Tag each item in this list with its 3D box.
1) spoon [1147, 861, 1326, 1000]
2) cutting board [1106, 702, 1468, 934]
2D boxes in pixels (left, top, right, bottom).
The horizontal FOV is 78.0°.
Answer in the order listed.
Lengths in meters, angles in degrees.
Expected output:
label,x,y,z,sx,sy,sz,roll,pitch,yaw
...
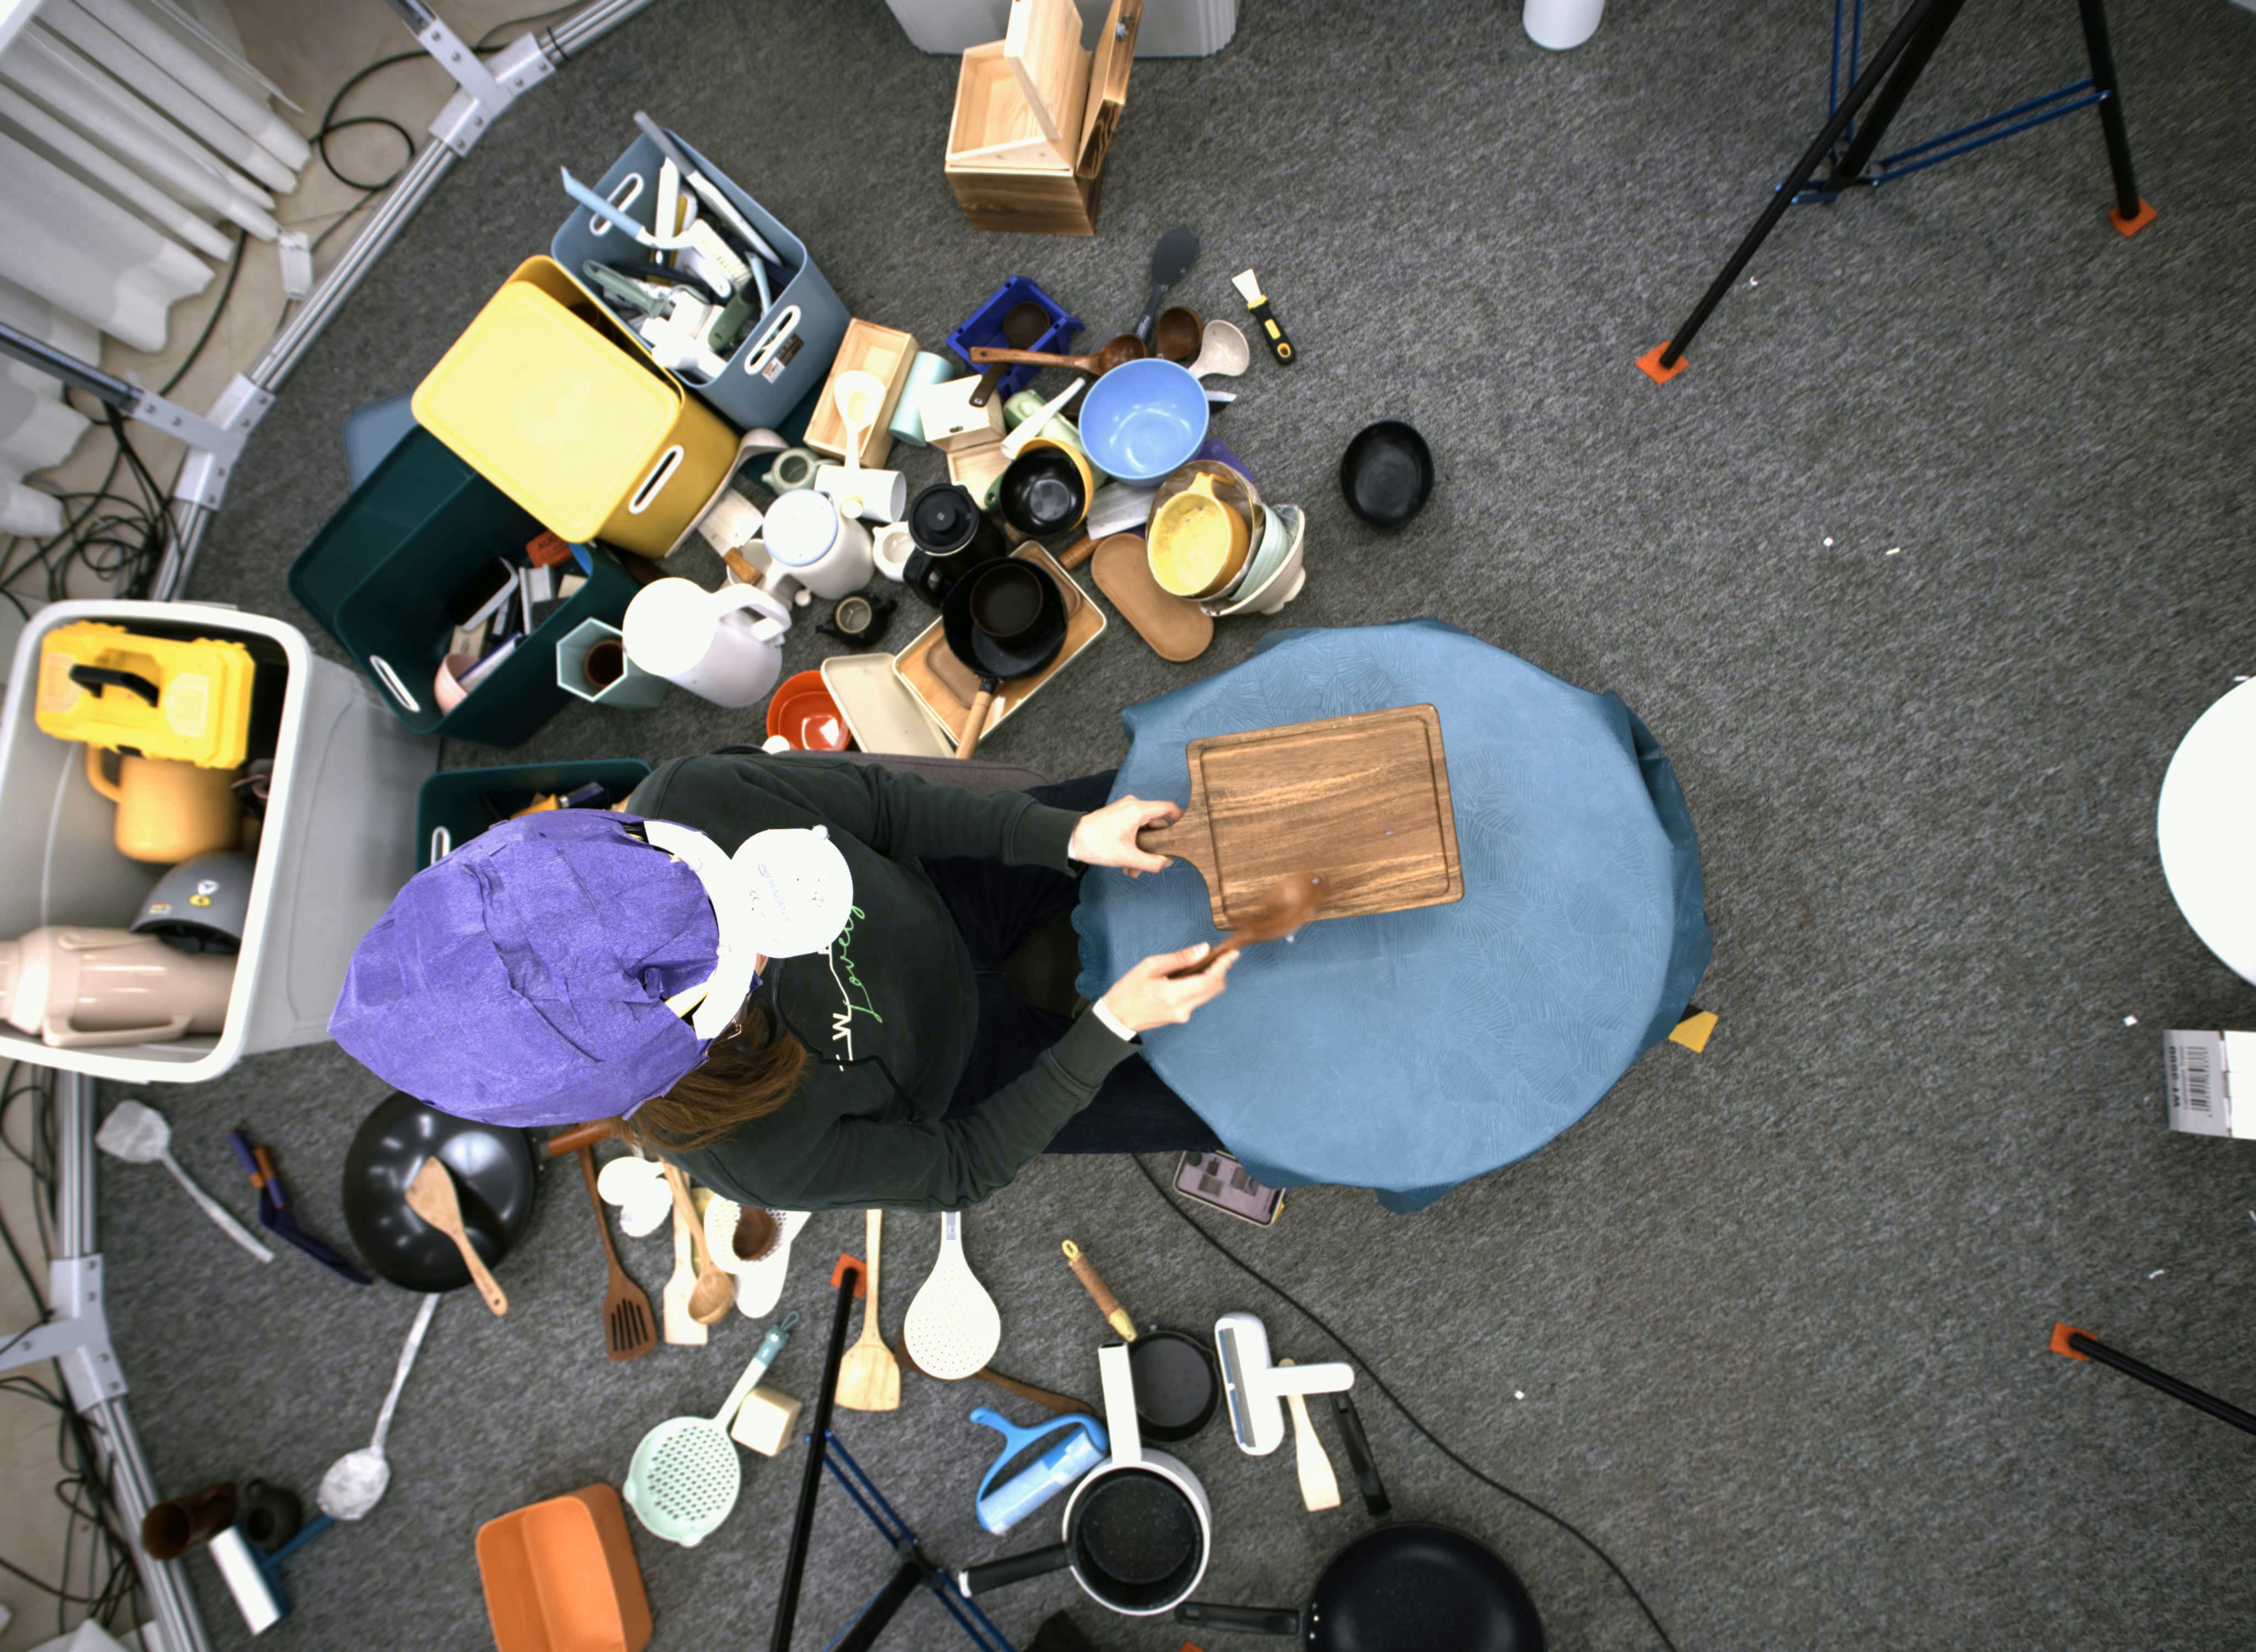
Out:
label,x,y,z,sx,sy,sz,roll,pitch,yaw
spoon,0.105,0.105,1.340,0.219,0.073,0.017,-36,118,19
cutting board,0.148,0.001,1.380,0.354,0.023,0.202,-8,97,16
